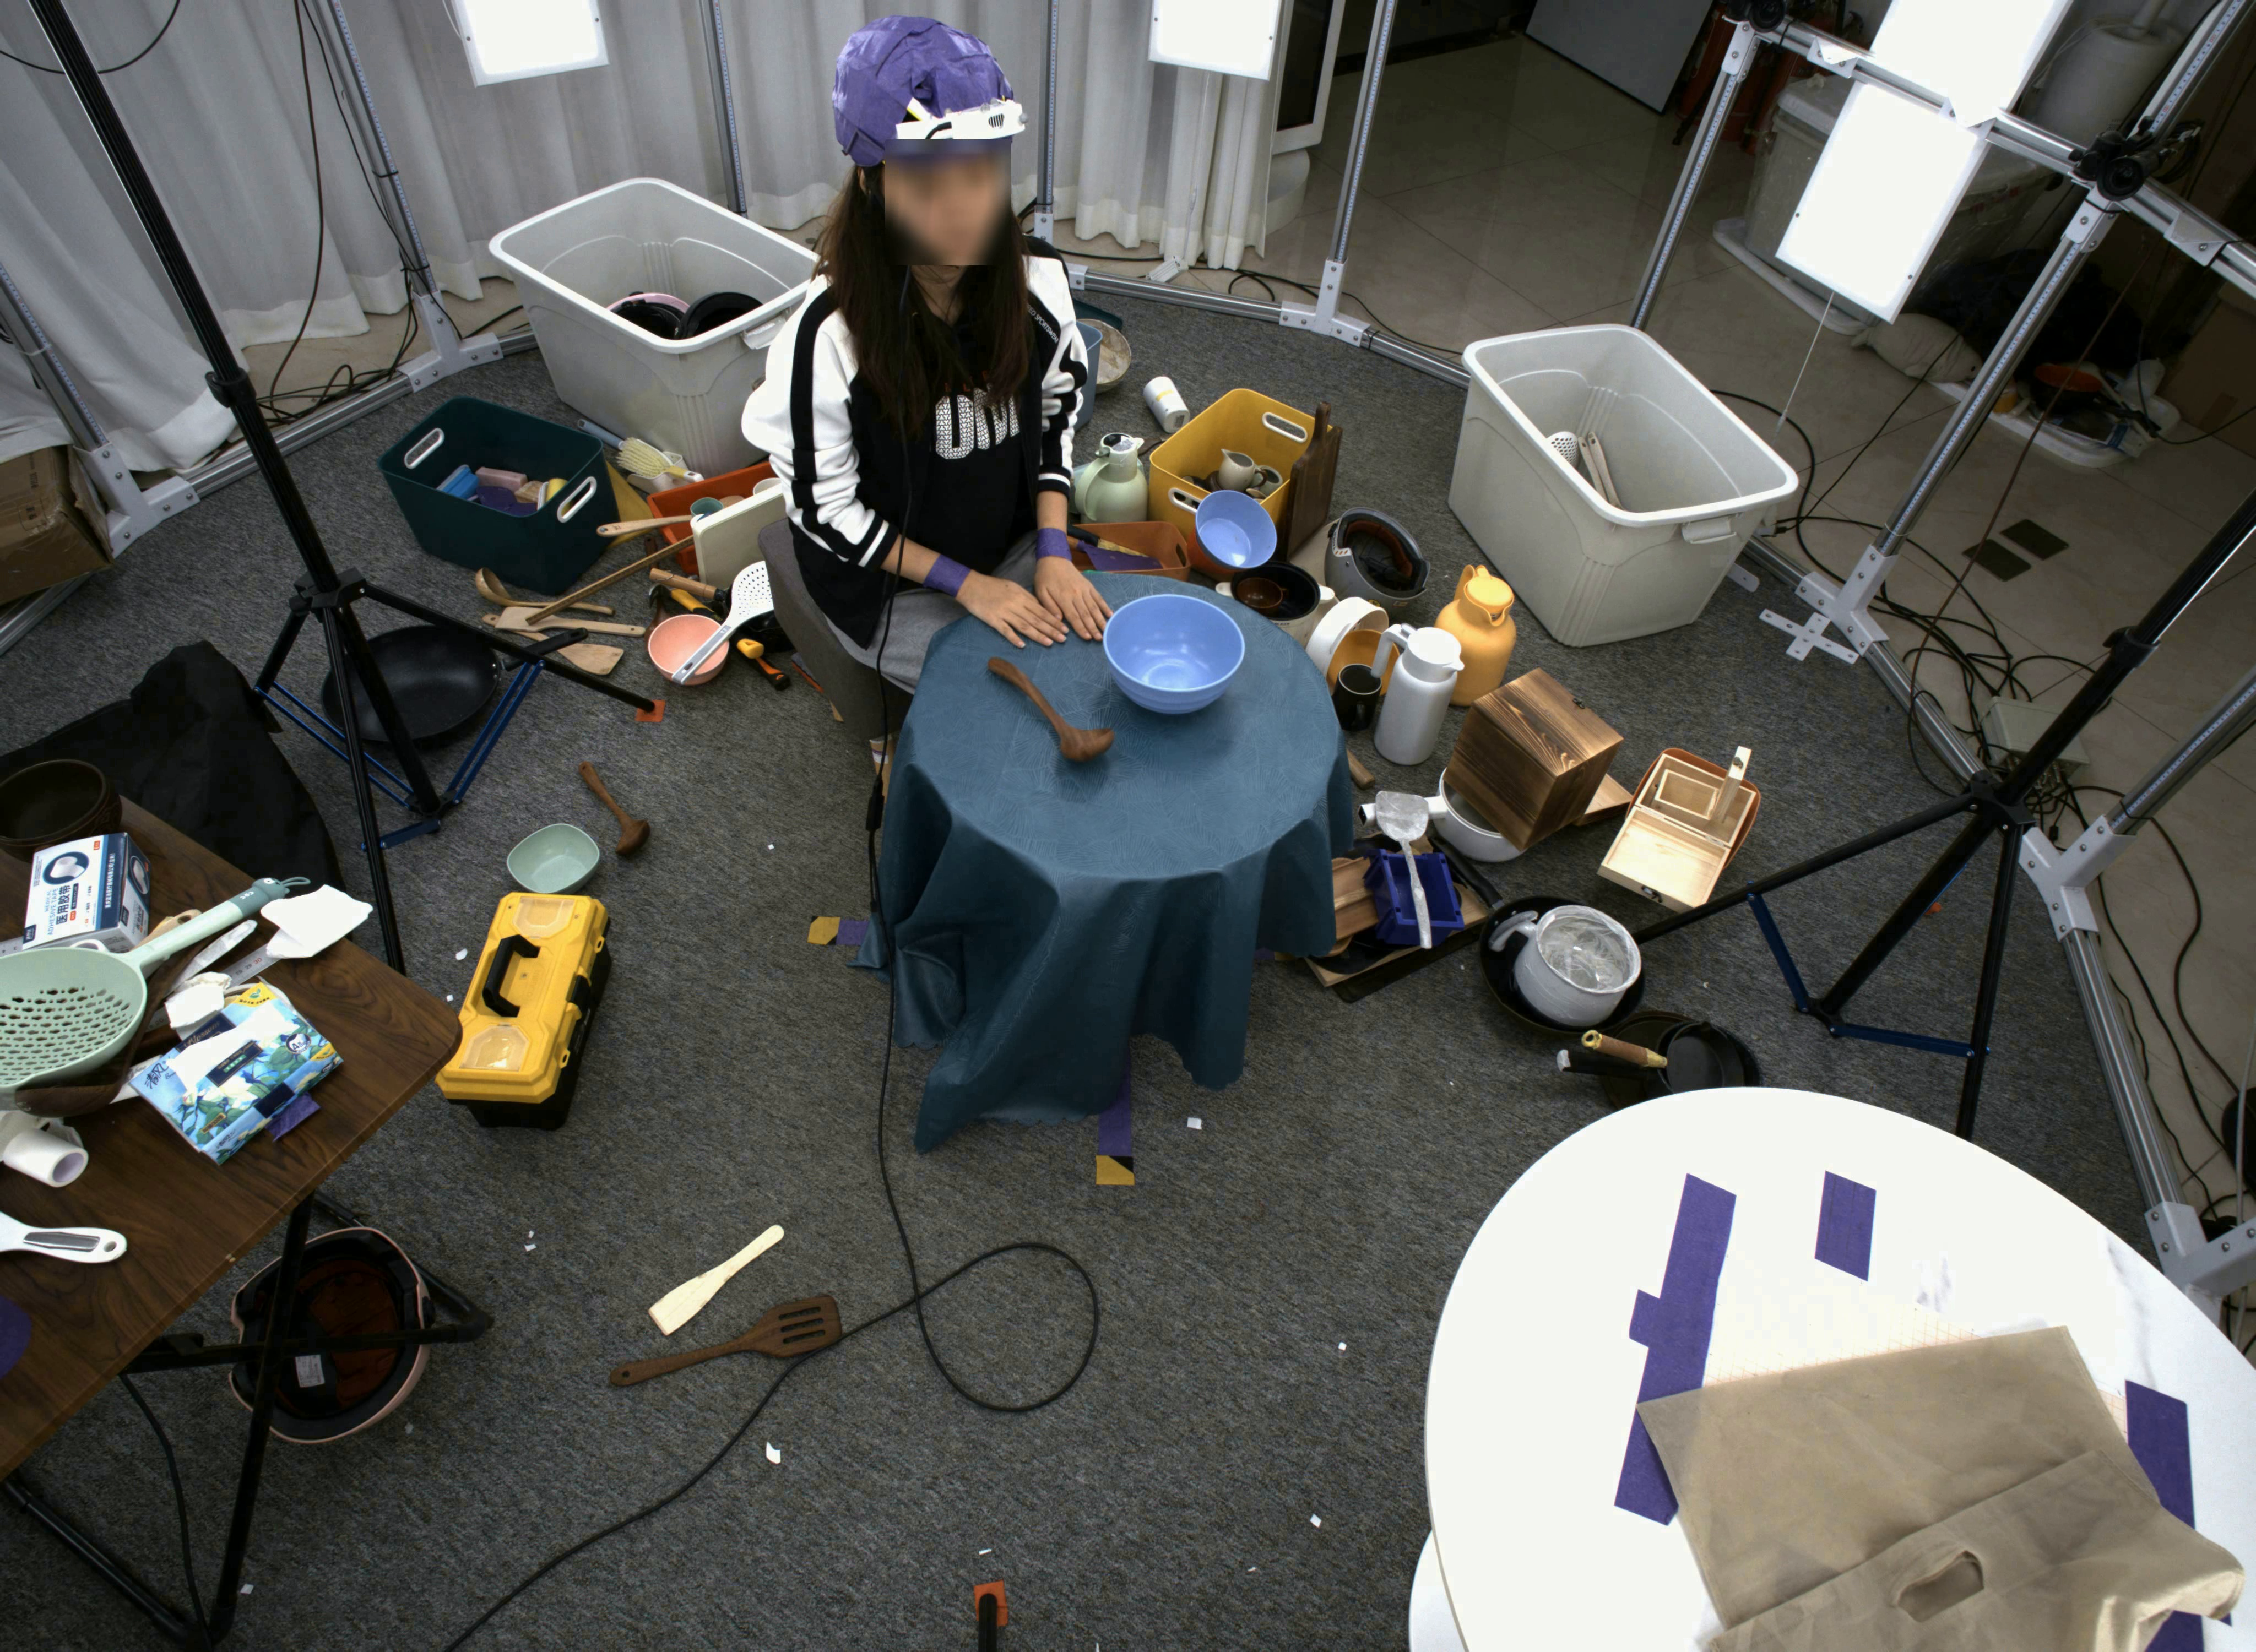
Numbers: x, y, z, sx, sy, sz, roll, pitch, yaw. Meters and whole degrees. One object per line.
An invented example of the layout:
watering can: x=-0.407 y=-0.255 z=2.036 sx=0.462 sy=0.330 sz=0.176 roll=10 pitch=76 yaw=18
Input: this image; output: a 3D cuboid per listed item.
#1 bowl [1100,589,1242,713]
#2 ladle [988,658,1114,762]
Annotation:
bowl: x=0.059 y=-0.233 z=1.815 sx=0.196 sy=0.093 sz=0.201 roll=0 pitch=55 yaw=-1
ladle: x=-0.114 y=-0.173 z=1.772 sx=0.077 sy=0.063 sz=0.265 roll=-24 pitch=54 yaw=-30
